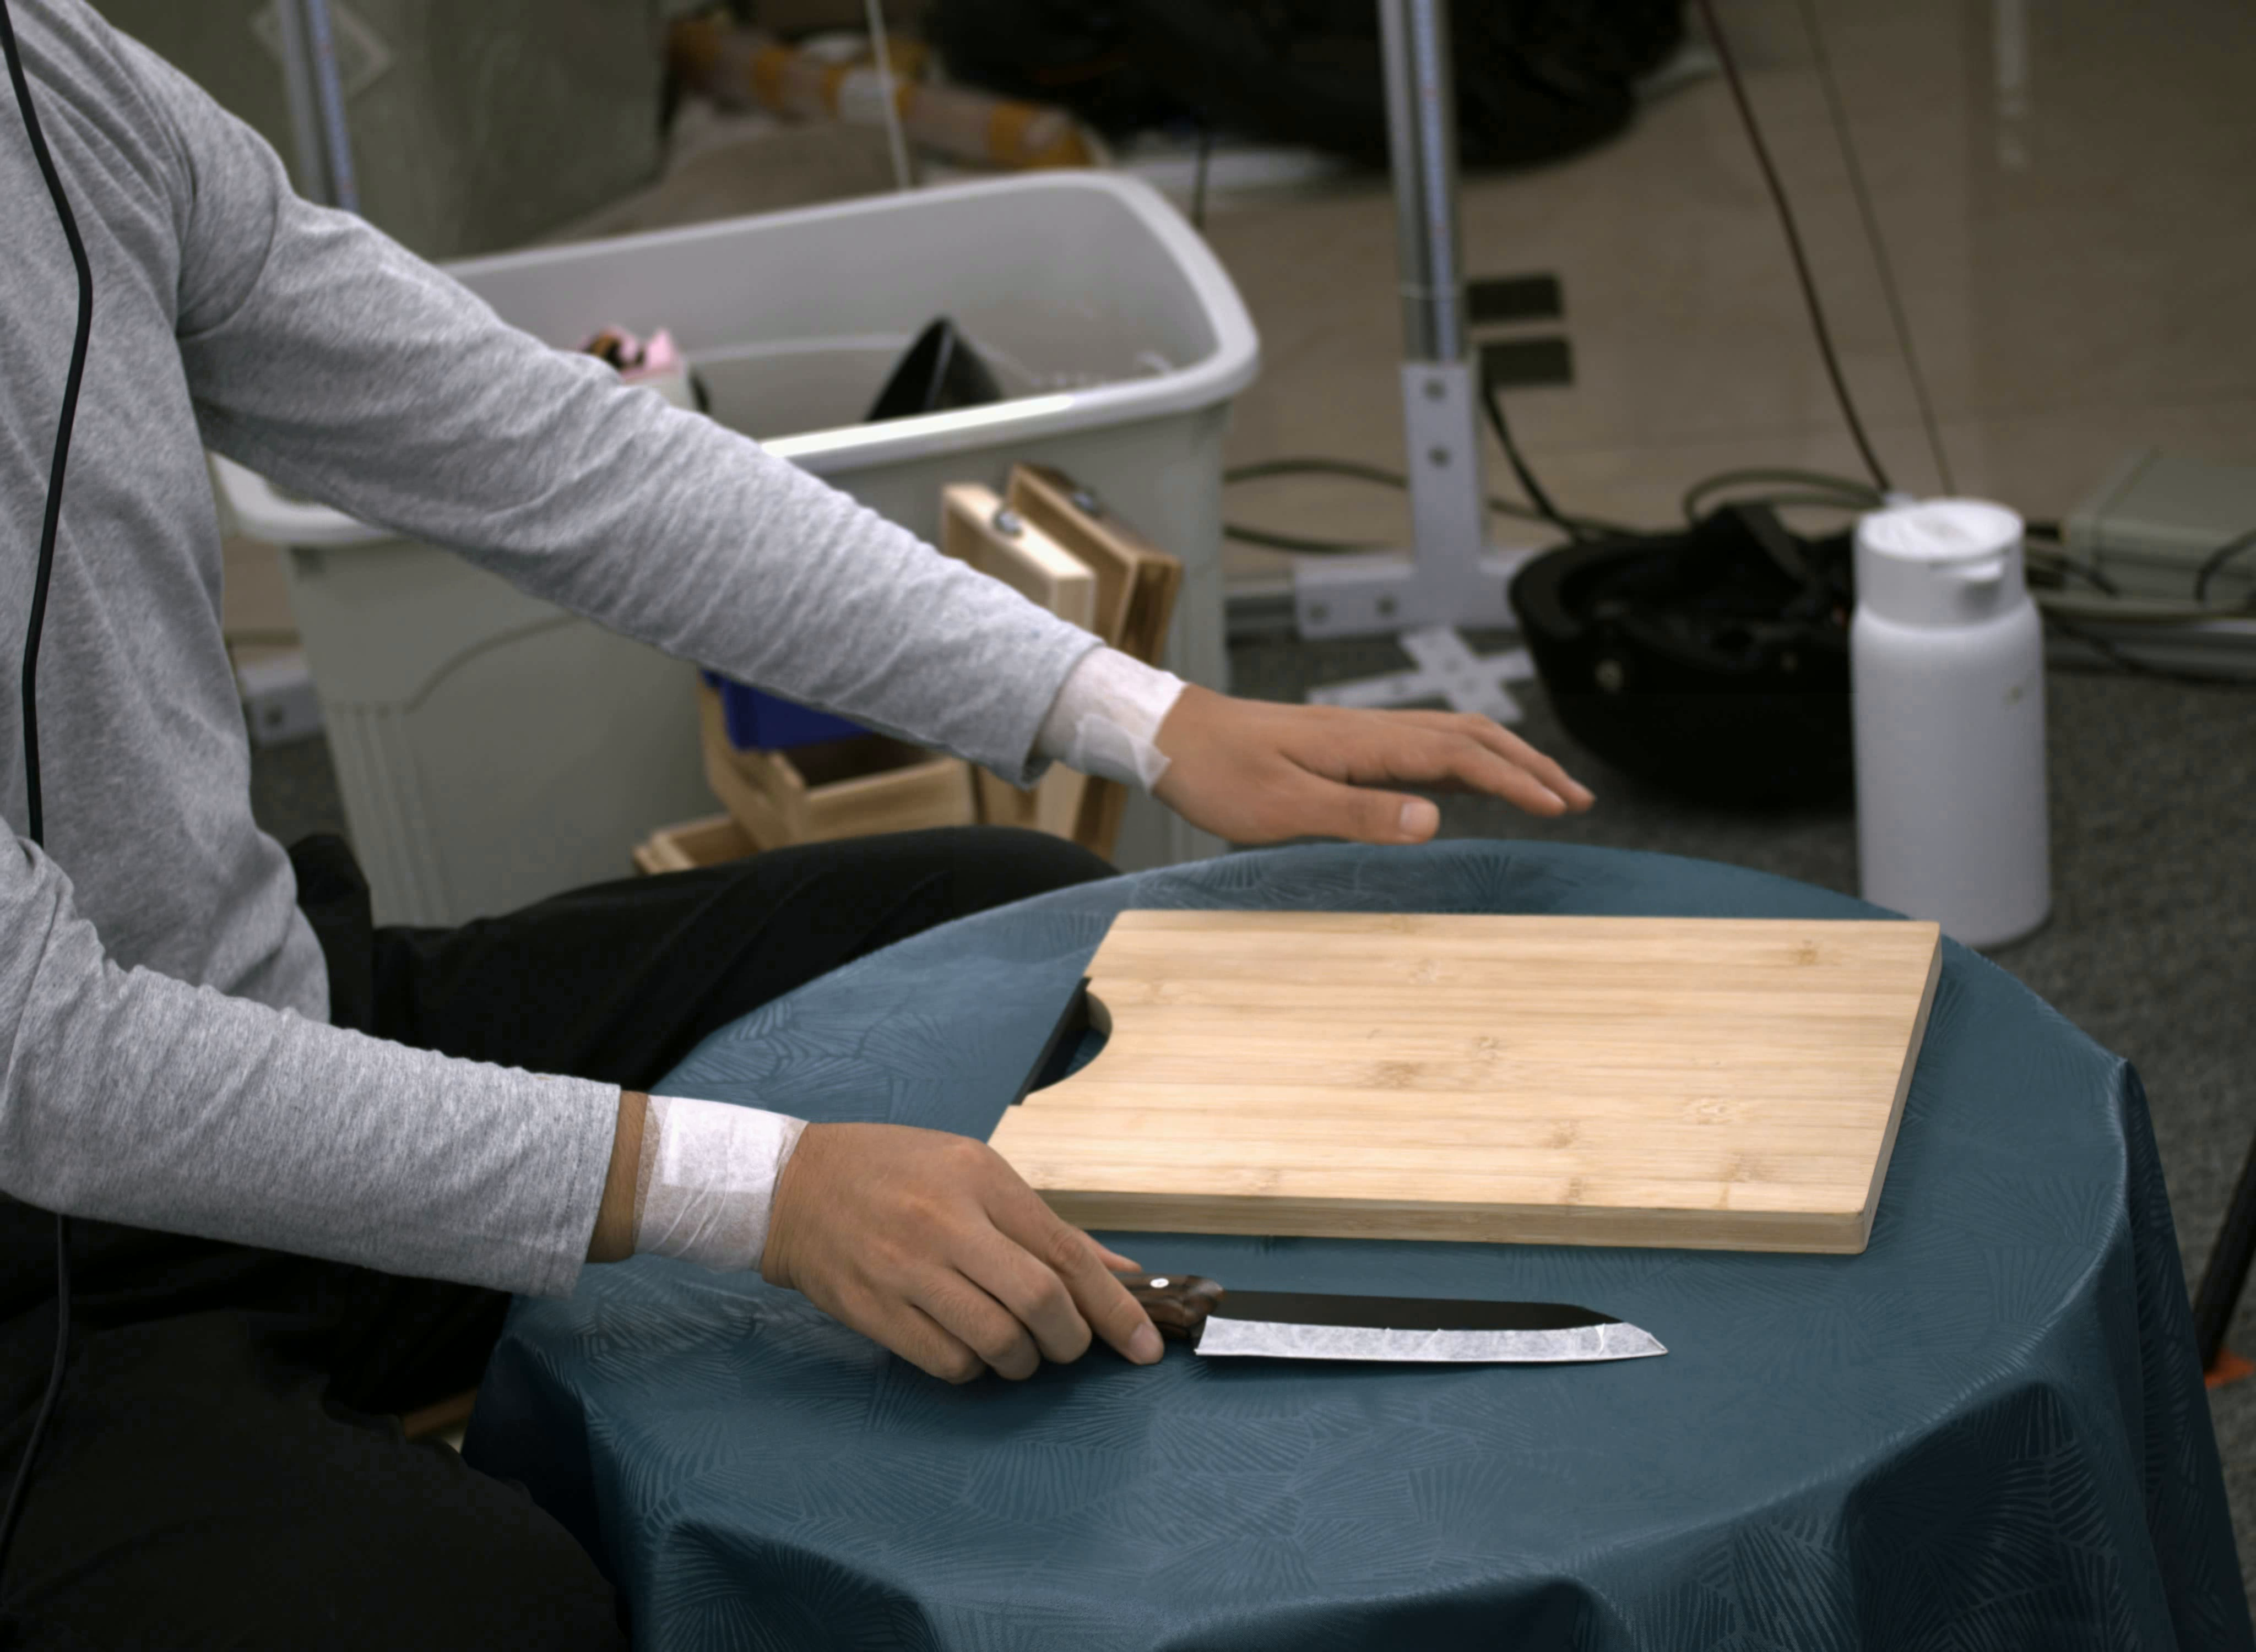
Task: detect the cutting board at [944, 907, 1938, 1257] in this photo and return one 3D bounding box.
[{"bbox_3d":[0.126,0.095,2.197,0.348,0.024,0.247,1,25,15],"label":"cutting board"}]

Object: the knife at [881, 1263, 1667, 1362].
[{"bbox_3d":[0.050,0.177,2.036,0.288,0.020,0.049,2,28,12],"label":"knife"}]
